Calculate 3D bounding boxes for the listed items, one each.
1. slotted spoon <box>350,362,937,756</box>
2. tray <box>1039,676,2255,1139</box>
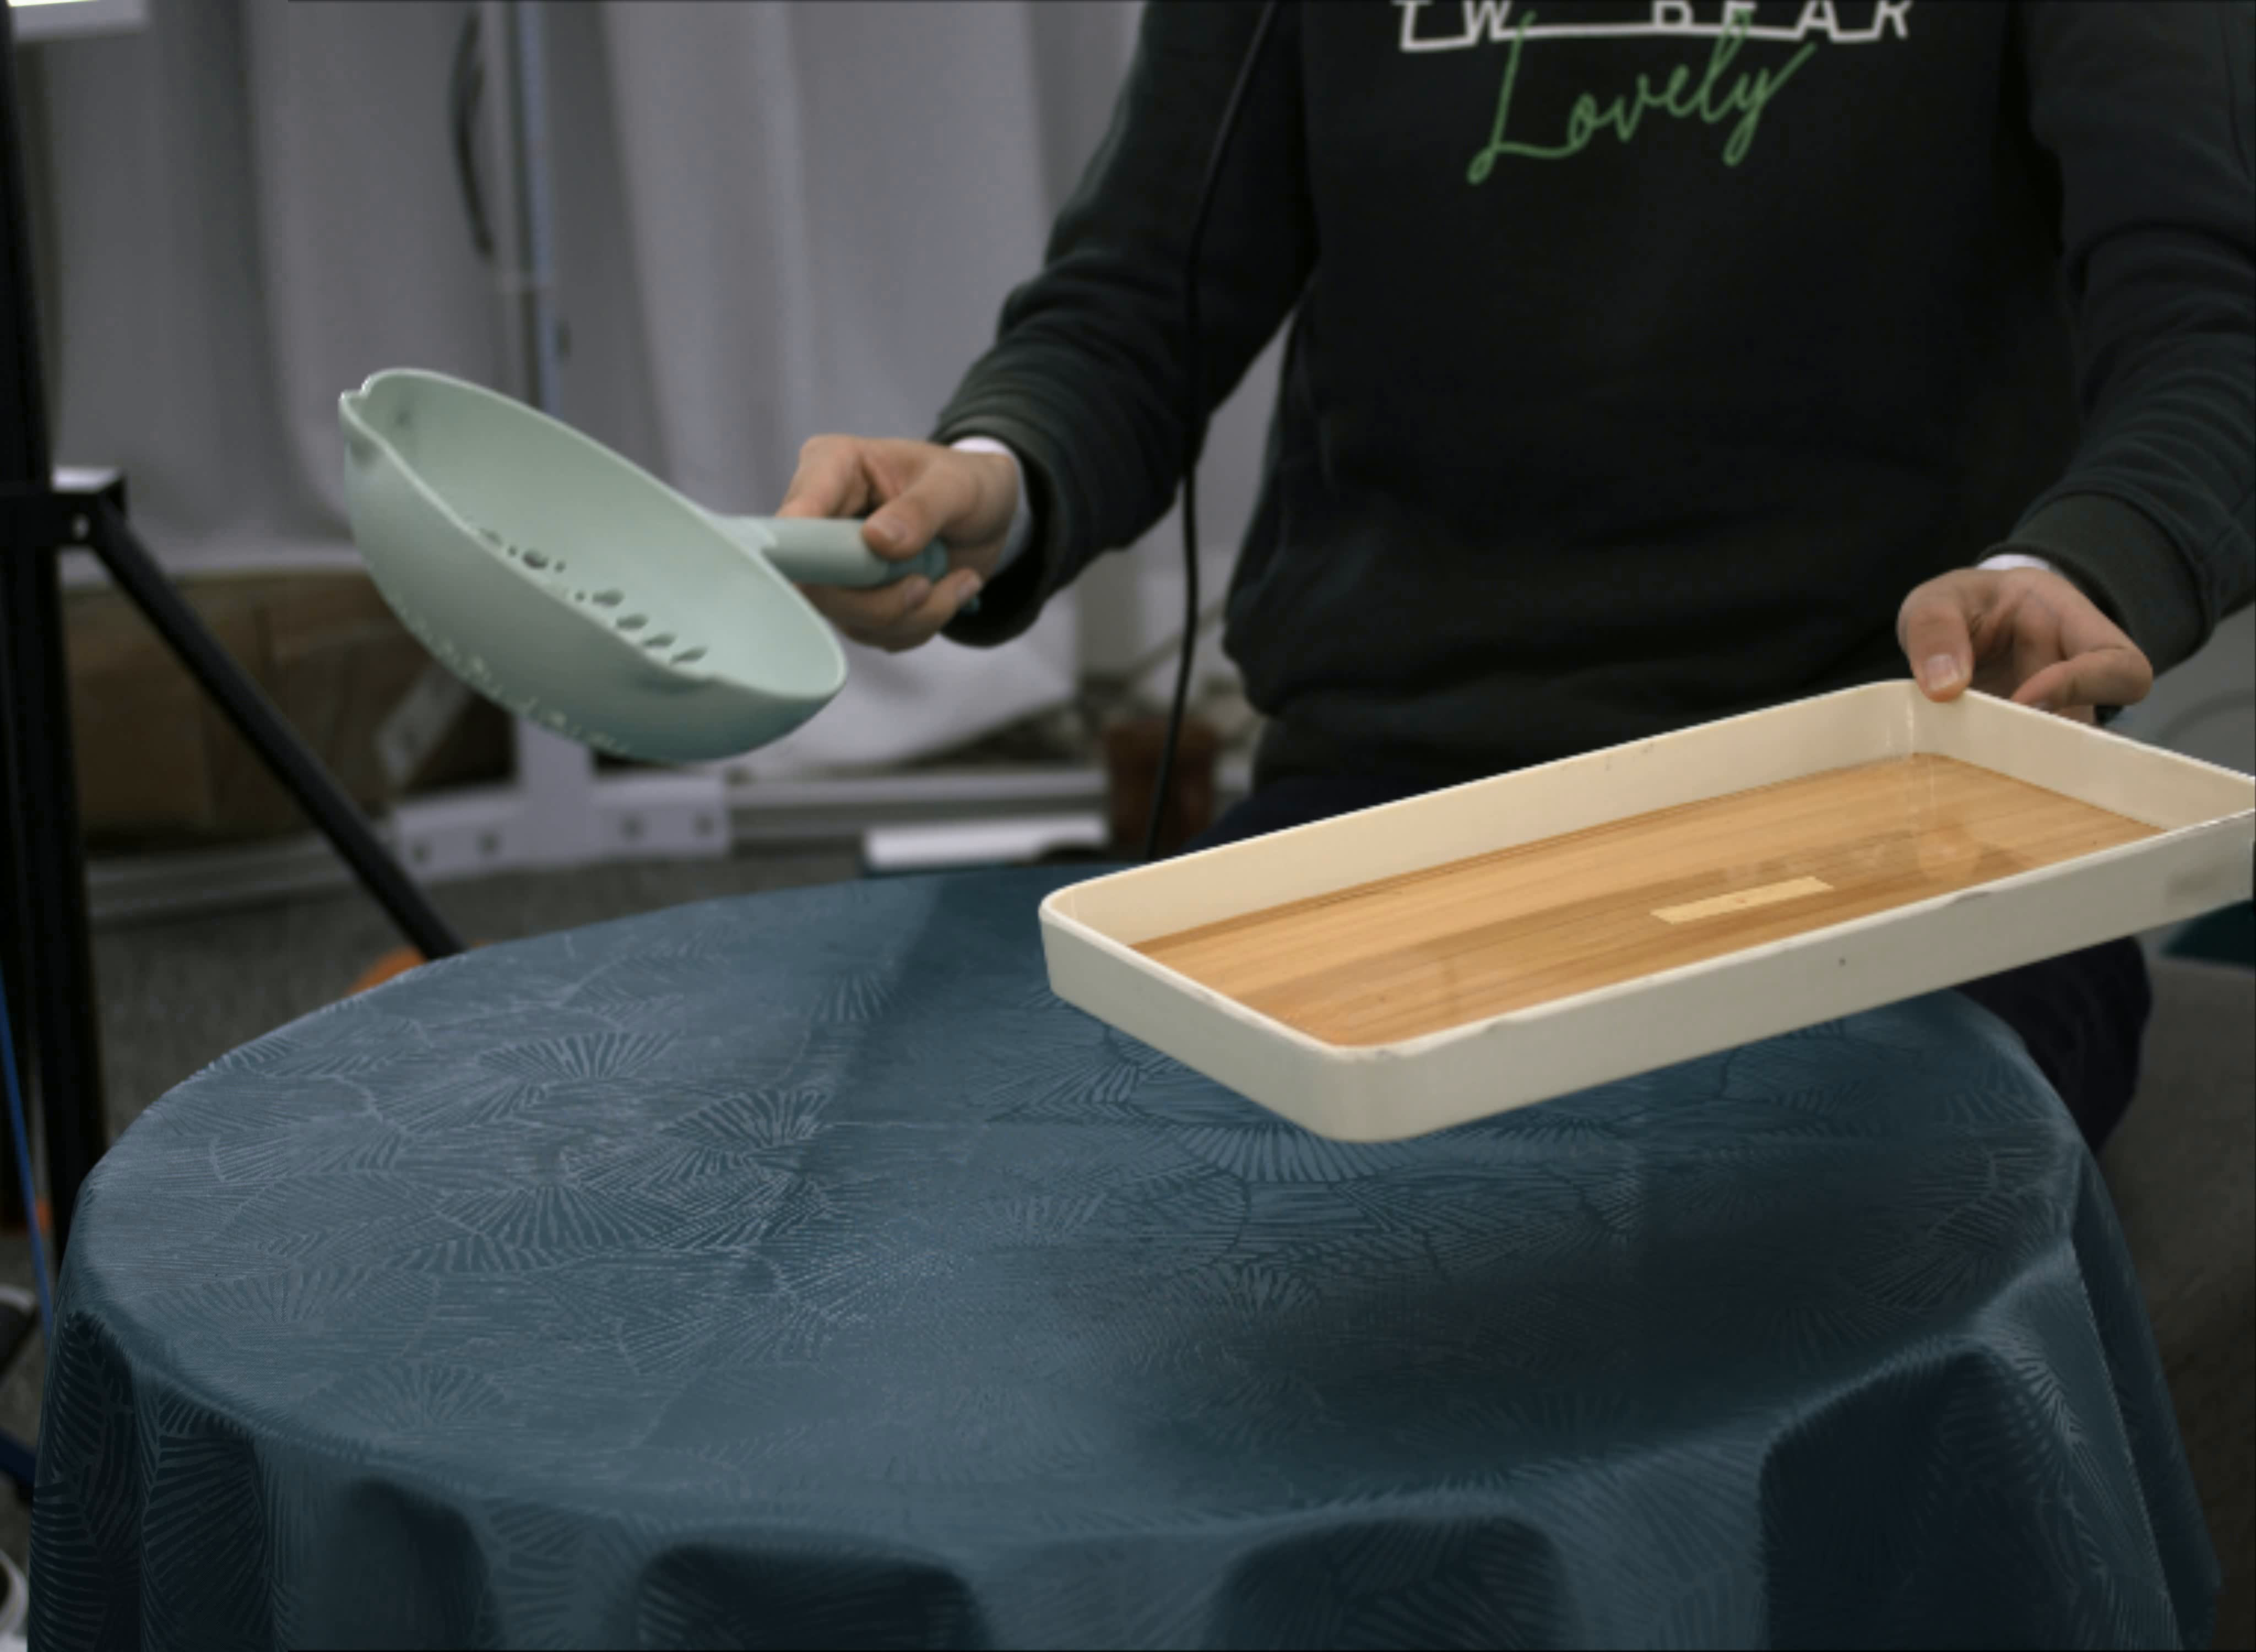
[{"bbox_3d":[-0.127,-0.082,1.687,0.171,0.076,0.352,38,21,15],"label":"slotted spoon"},{"bbox_3d":[0.145,0.018,1.434,0.295,0.027,0.195,-13,17,-22],"label":"tray"}]
